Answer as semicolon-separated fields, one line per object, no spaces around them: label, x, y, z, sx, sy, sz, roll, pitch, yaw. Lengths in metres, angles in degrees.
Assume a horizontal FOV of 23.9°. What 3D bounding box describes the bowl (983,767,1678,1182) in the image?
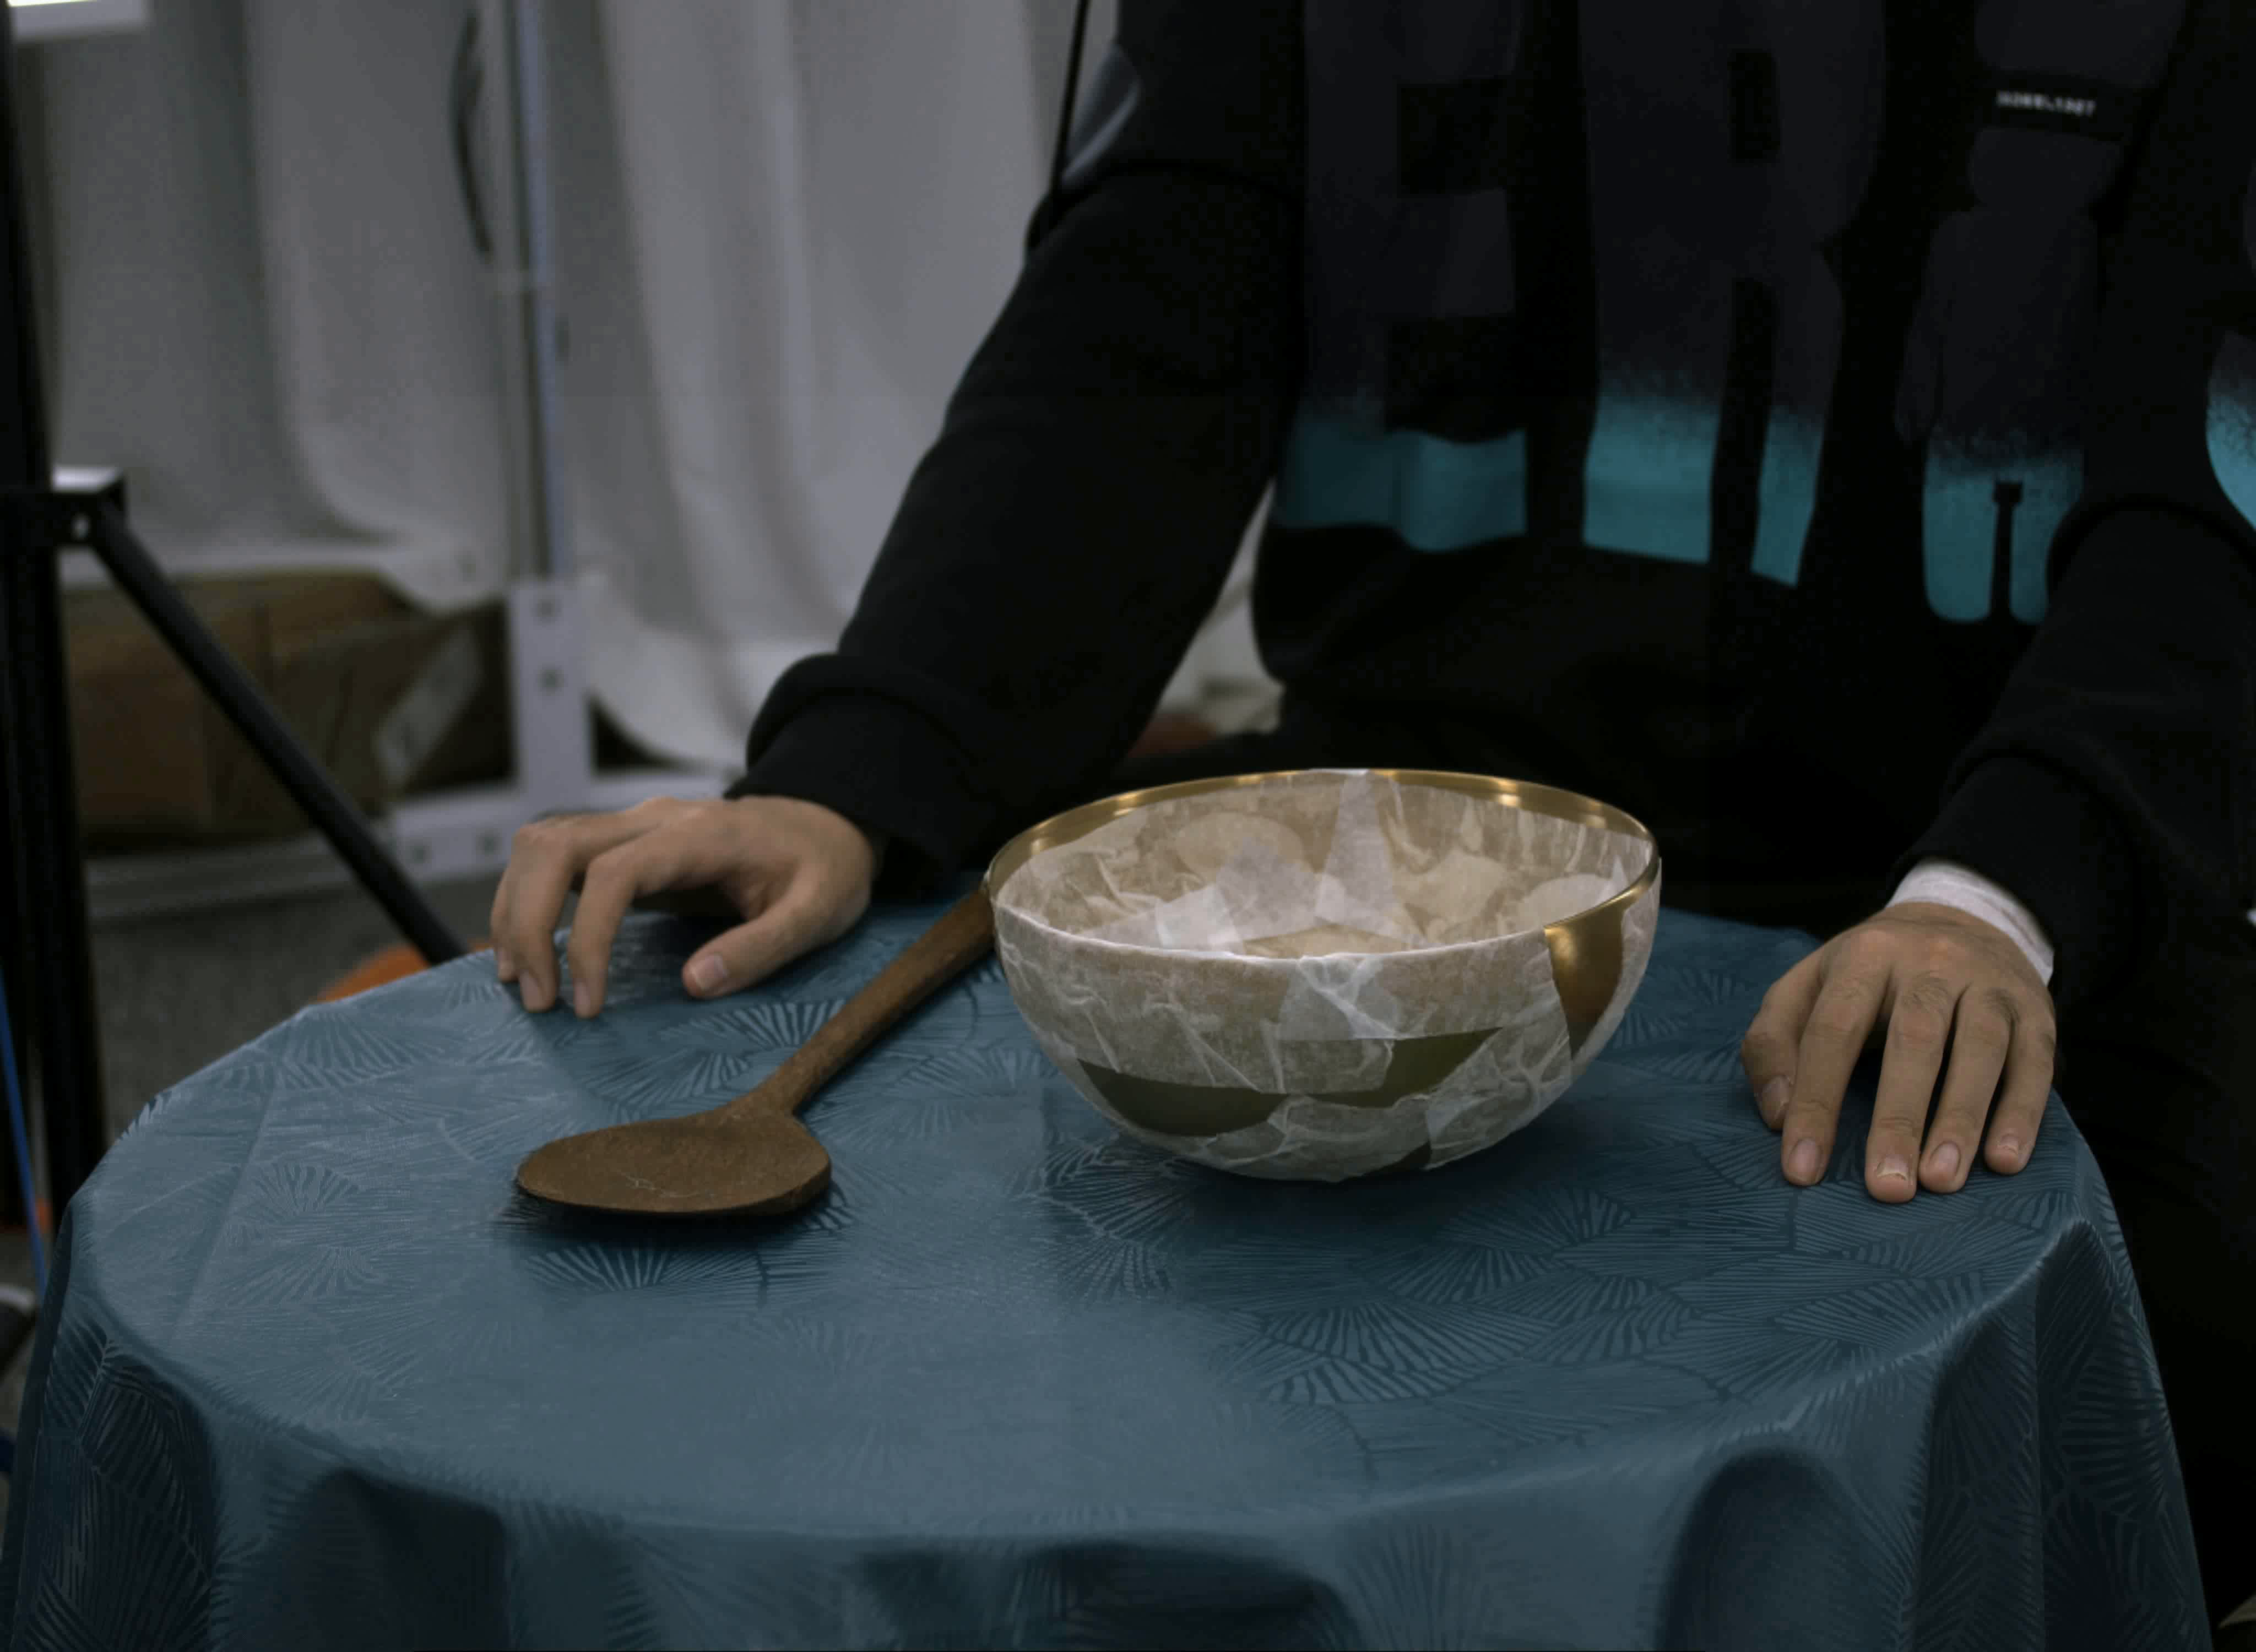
bowl;0.062;0.052;1.578;0.213;0.094;0.216;-3;14;-1

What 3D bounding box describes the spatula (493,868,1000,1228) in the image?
spatula;-0.087;0.064;1.704;0.097;0.016;0.381;3;17;19
